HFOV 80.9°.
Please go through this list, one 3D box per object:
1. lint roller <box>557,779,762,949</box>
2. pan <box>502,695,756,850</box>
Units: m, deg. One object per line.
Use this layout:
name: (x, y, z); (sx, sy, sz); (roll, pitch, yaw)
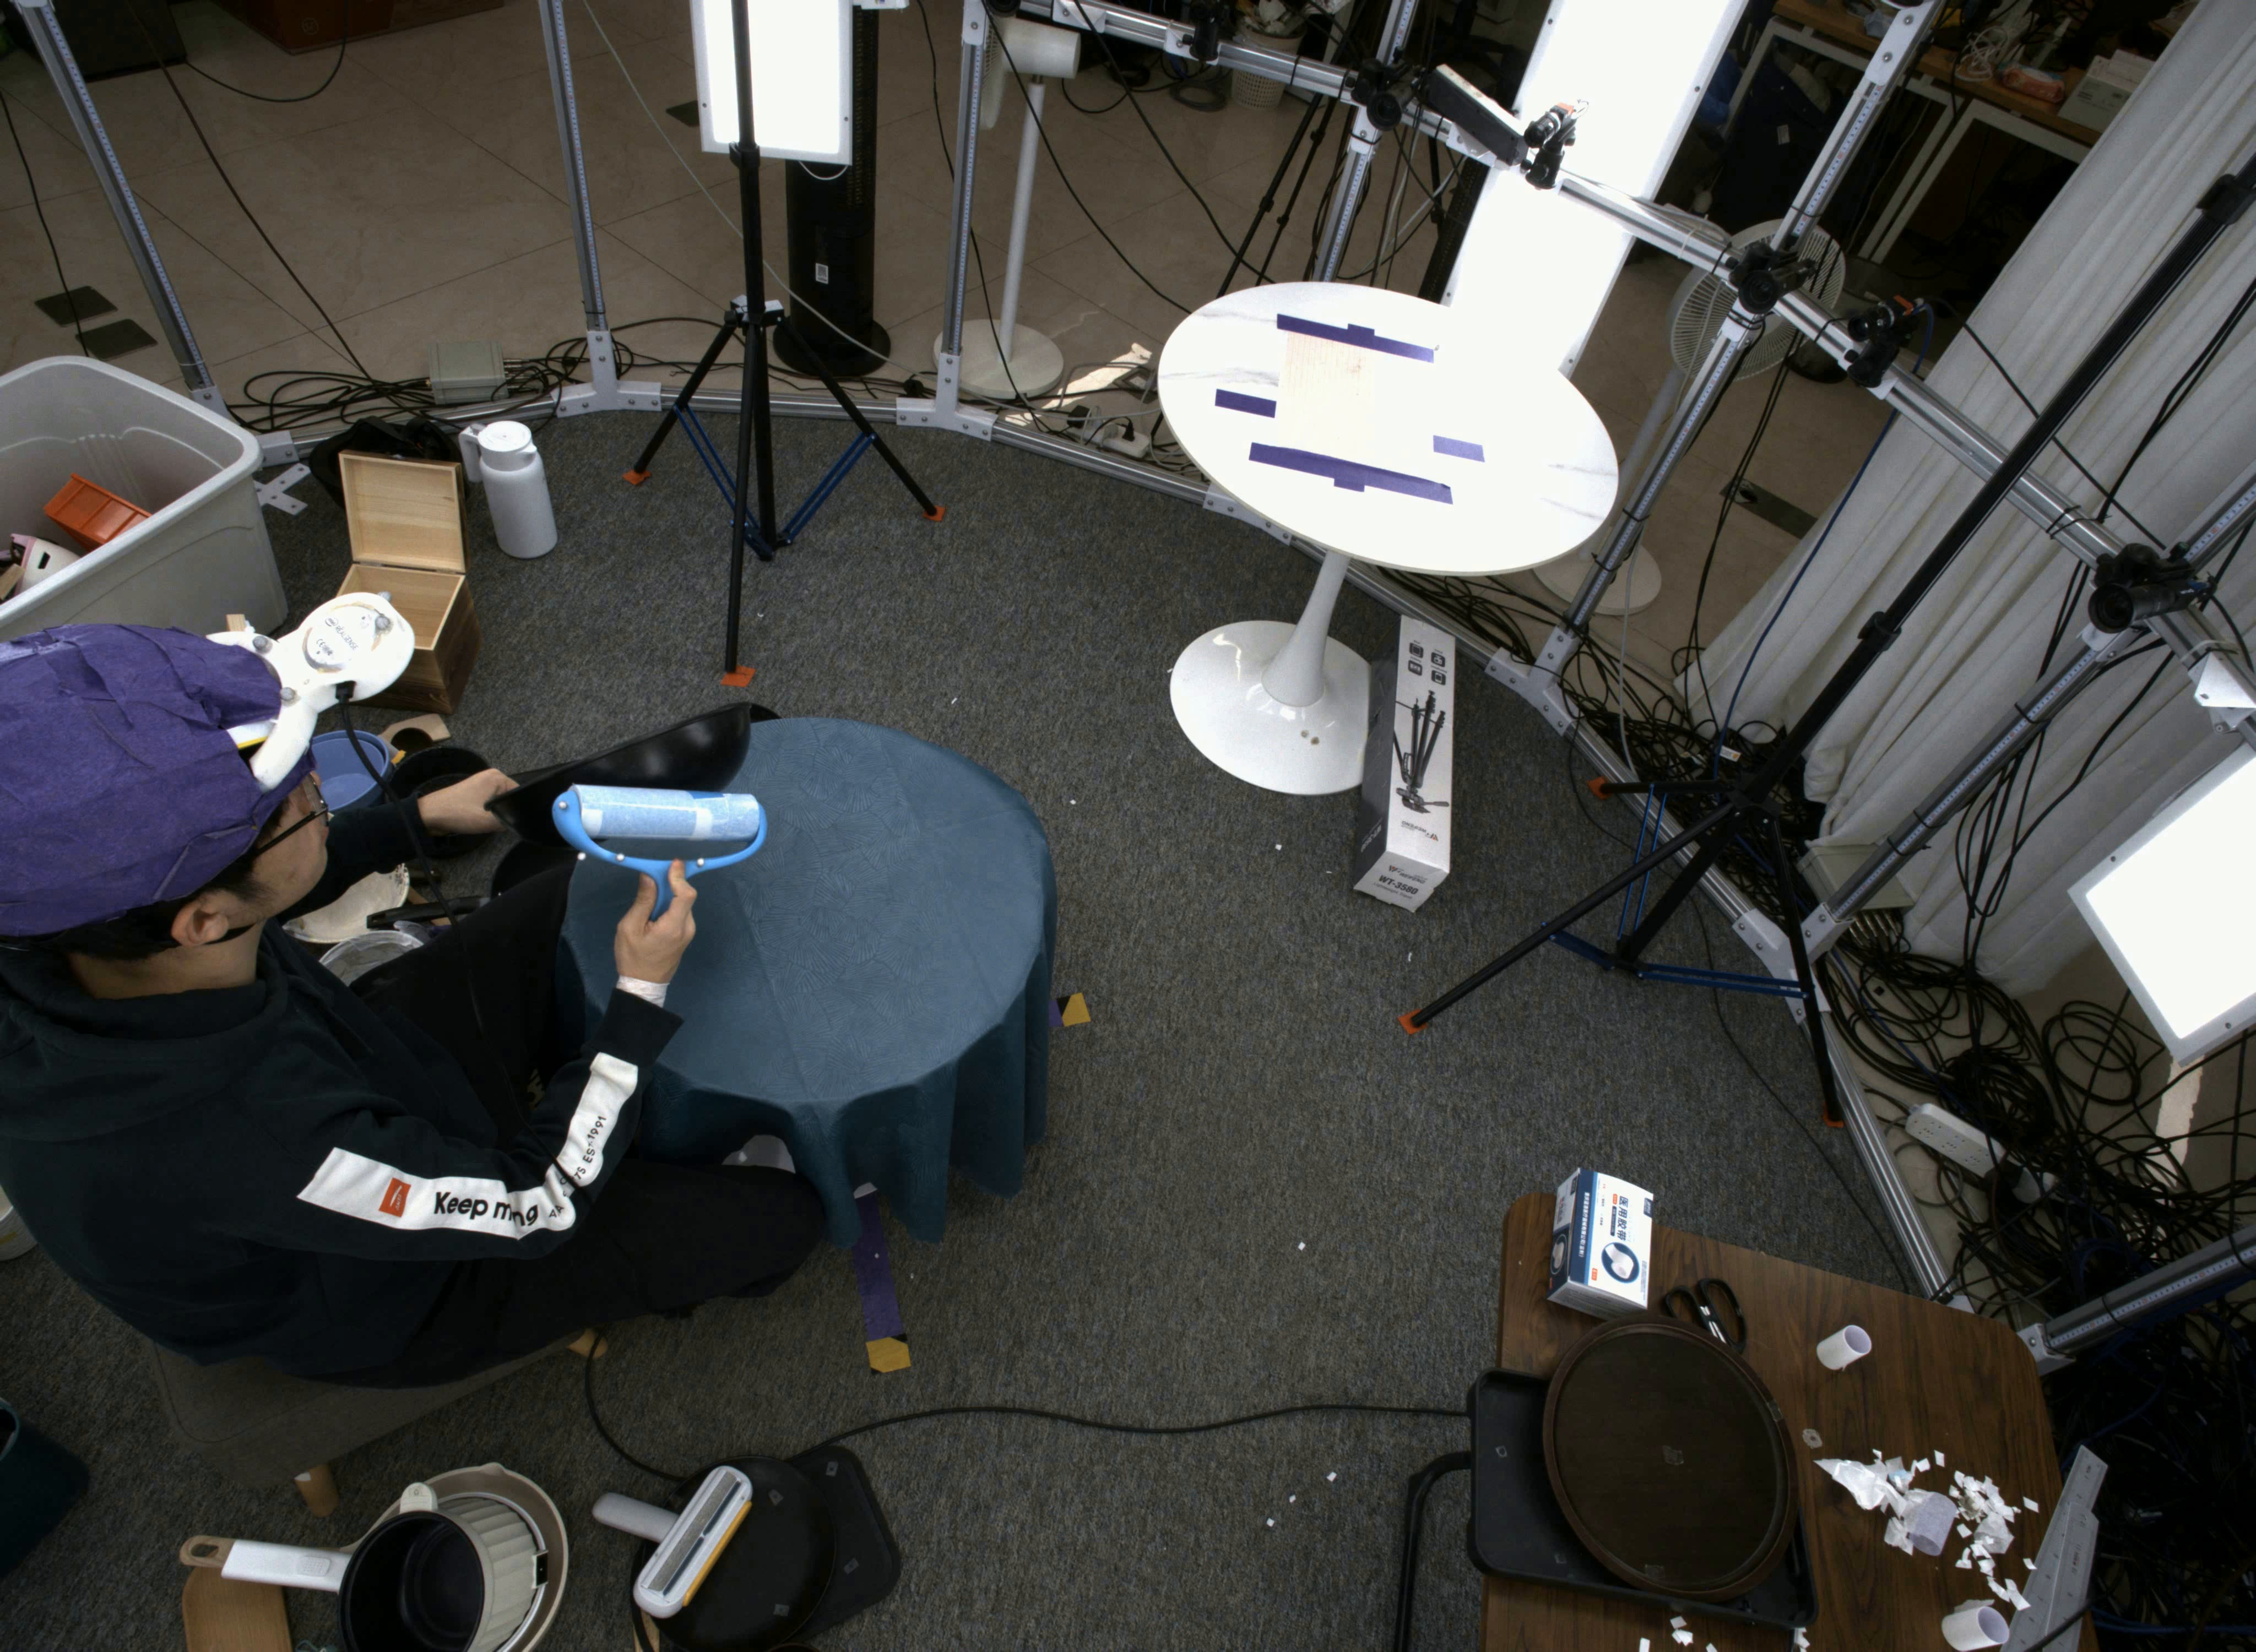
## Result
lint roller: (-0.487, 0.040, 1.330); (0.065, 0.183, 0.233); (10, 10, 43)
pan: (-0.625, -0.032, 1.457); (0.113, 0.469, 0.310); (68, 17, -6)
